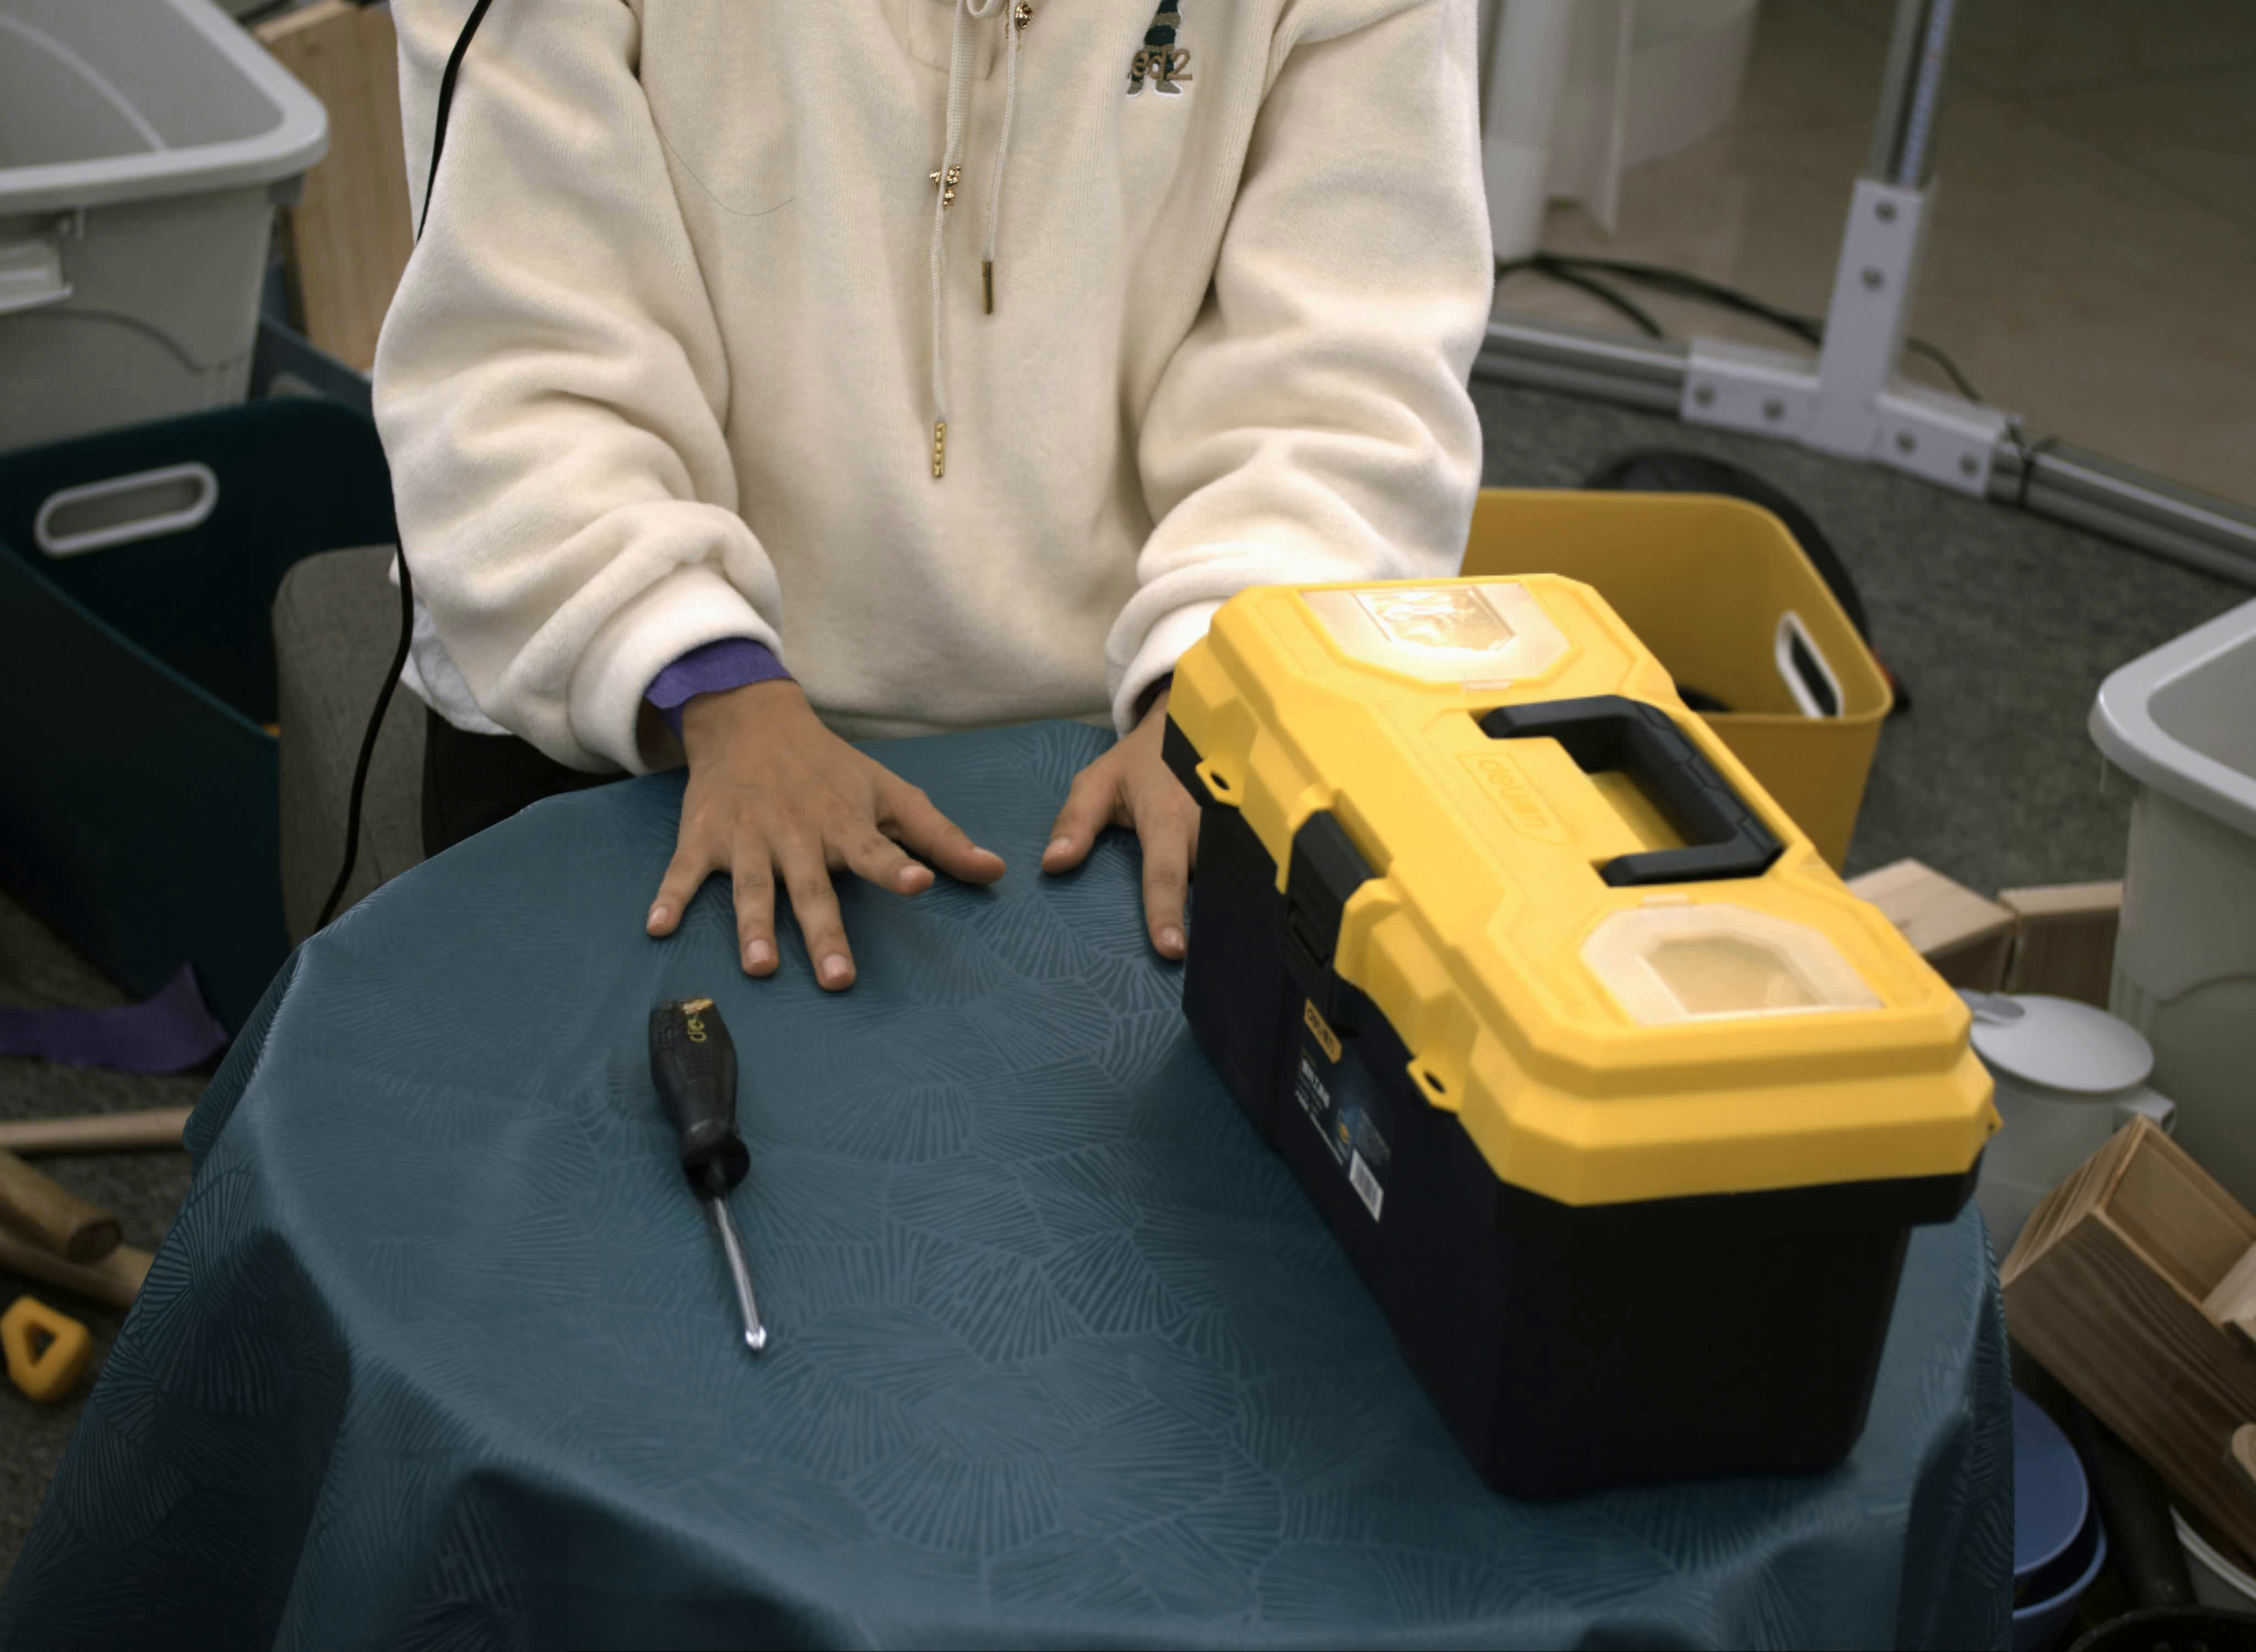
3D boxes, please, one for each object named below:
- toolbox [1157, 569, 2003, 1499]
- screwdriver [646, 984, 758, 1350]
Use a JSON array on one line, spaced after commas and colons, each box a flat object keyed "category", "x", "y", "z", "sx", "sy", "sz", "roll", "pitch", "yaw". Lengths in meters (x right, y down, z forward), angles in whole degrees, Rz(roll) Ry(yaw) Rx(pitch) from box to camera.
[{"category": "toolbox", "x": 0.136, "y": 0.061, "z": 1.764, "sx": 0.180, "sy": 0.172, "sz": 0.354, "roll": -3, "pitch": 28, "yaw": -18}, {"category": "screwdriver", "x": -0.138, "y": 0.111, "z": 1.762, "sx": 0.031, "sy": 0.031, "sz": 0.198, "roll": 1, "pitch": 29, "yaw": -12}]
